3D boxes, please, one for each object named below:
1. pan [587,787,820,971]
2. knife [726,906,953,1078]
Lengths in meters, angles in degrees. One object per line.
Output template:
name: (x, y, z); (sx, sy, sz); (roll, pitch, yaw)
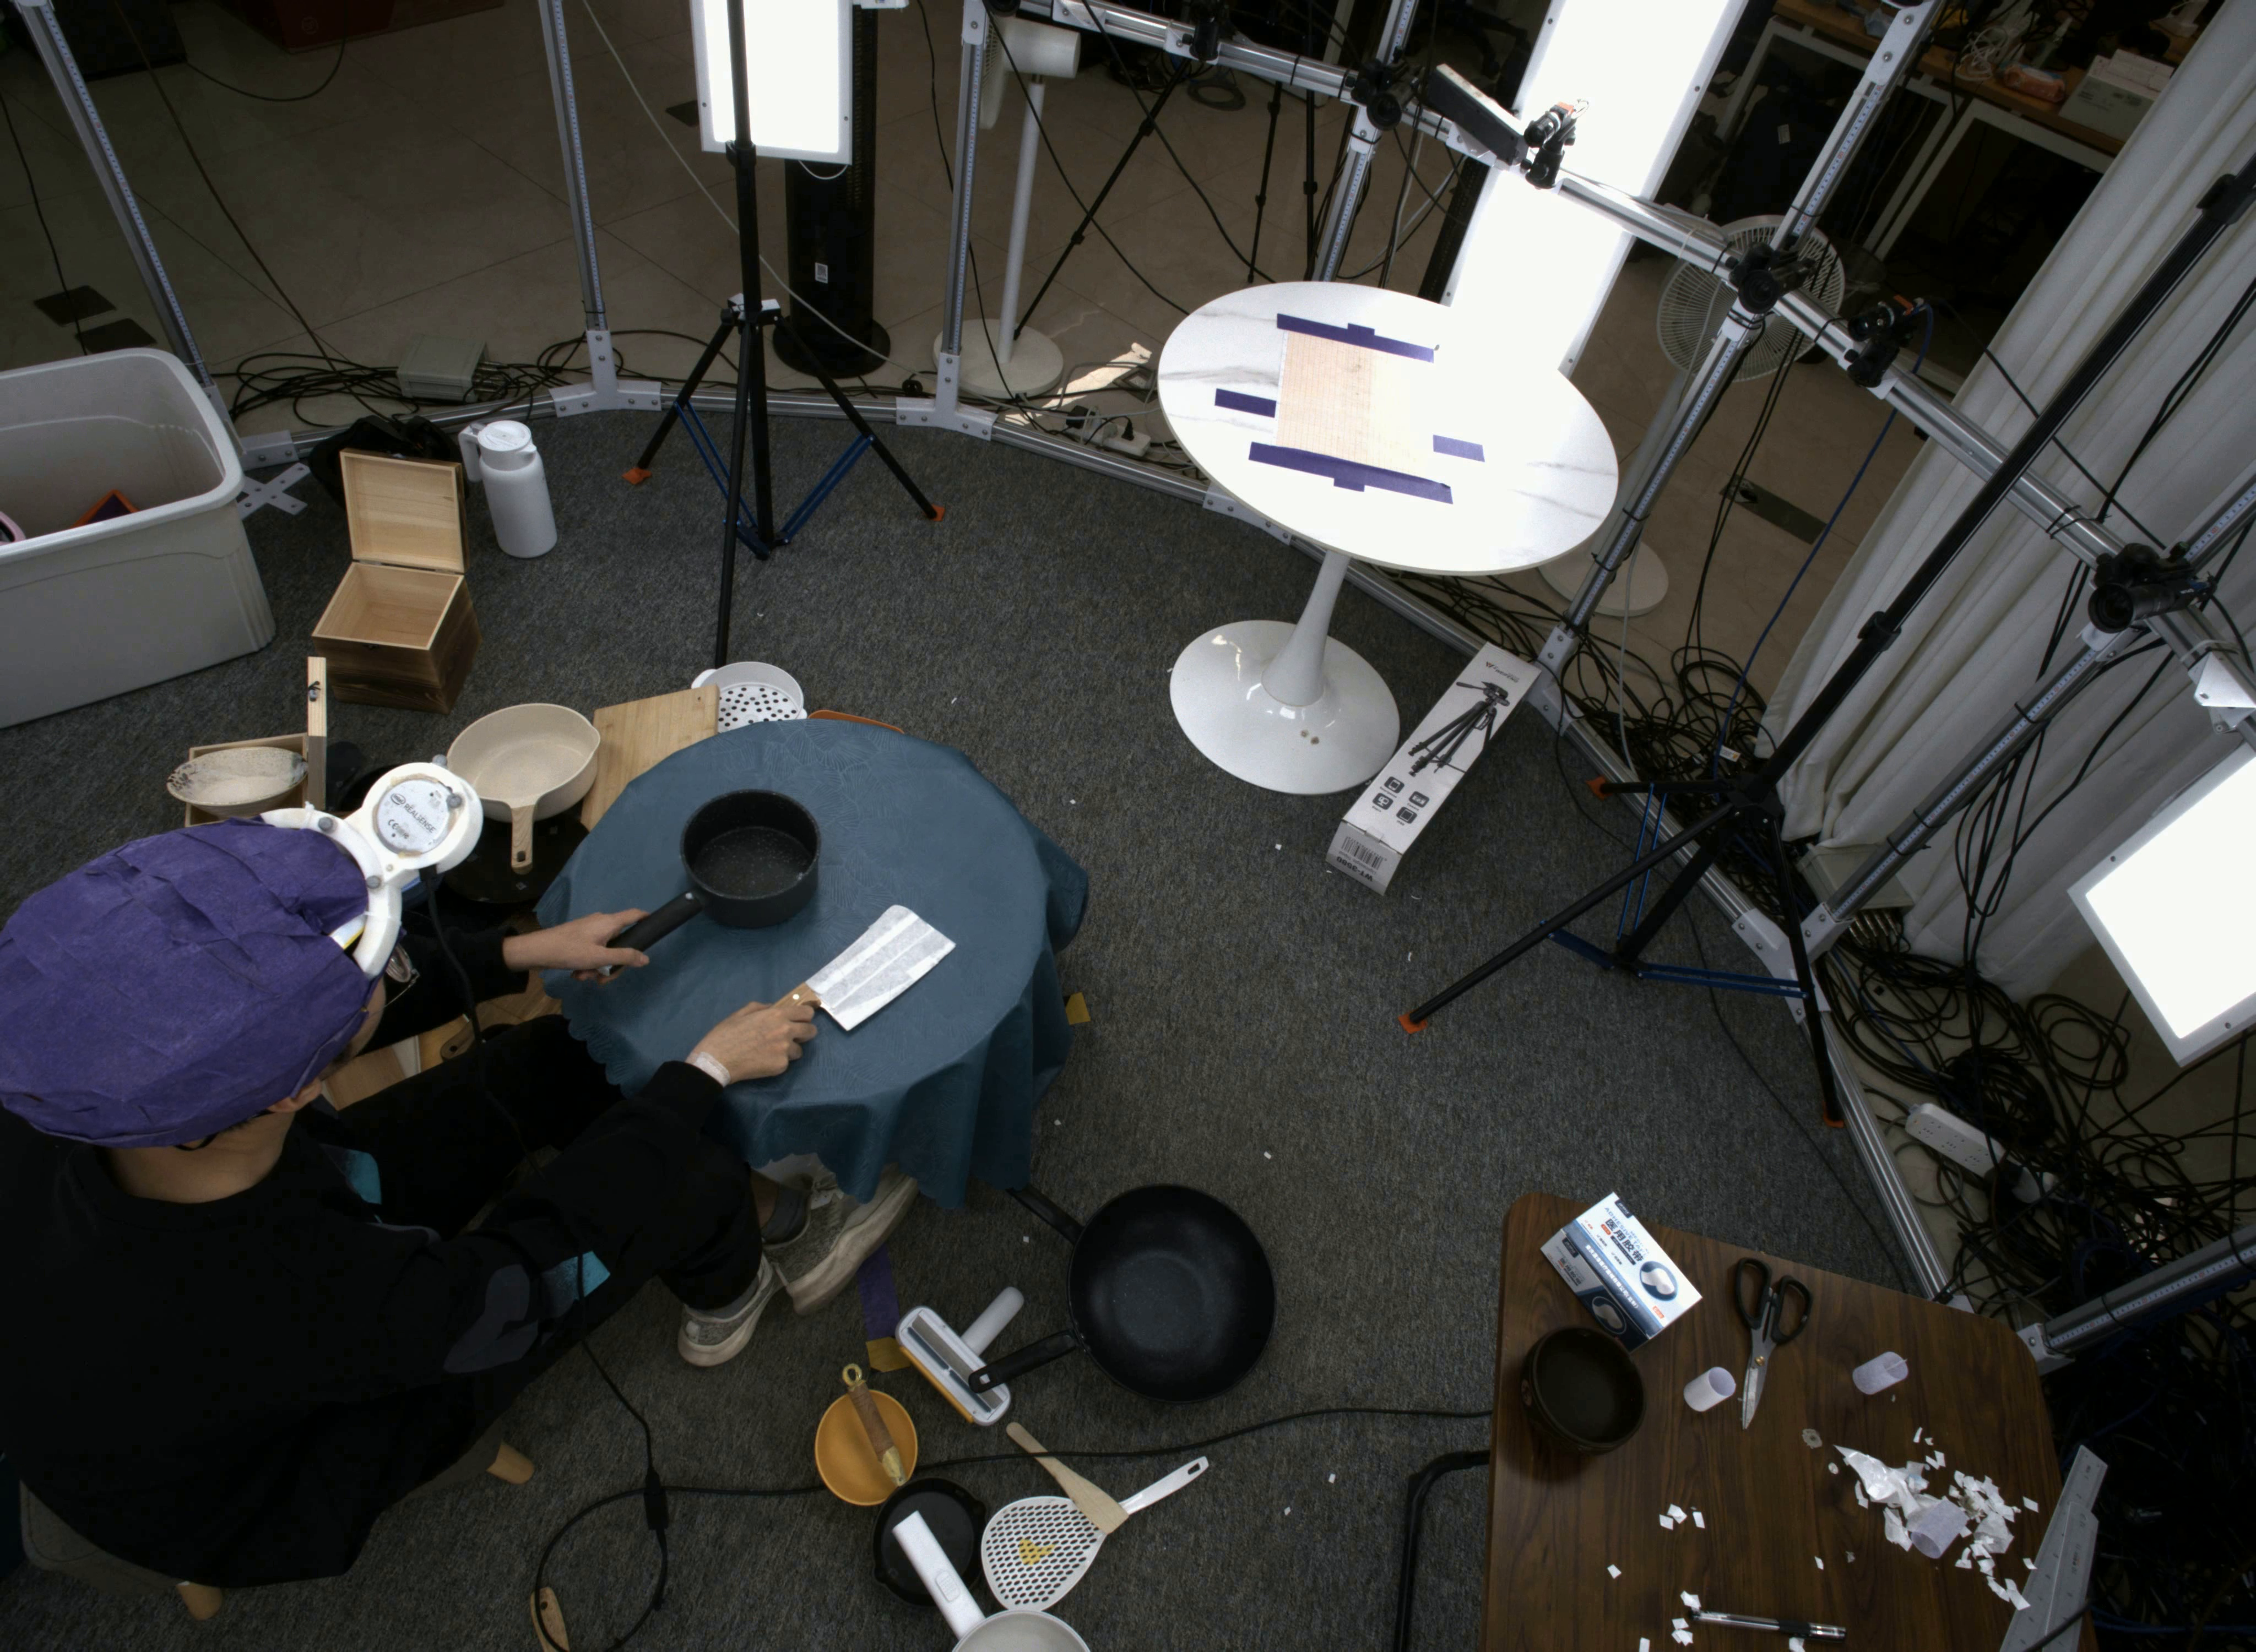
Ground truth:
pan: (-0.518, 0.083, 1.572); (0.168, 0.088, 0.329); (35, 52, 16)
knife: (-0.352, 0.197, 1.573); (0.111, 0.022, 0.316); (41, 52, 16)
